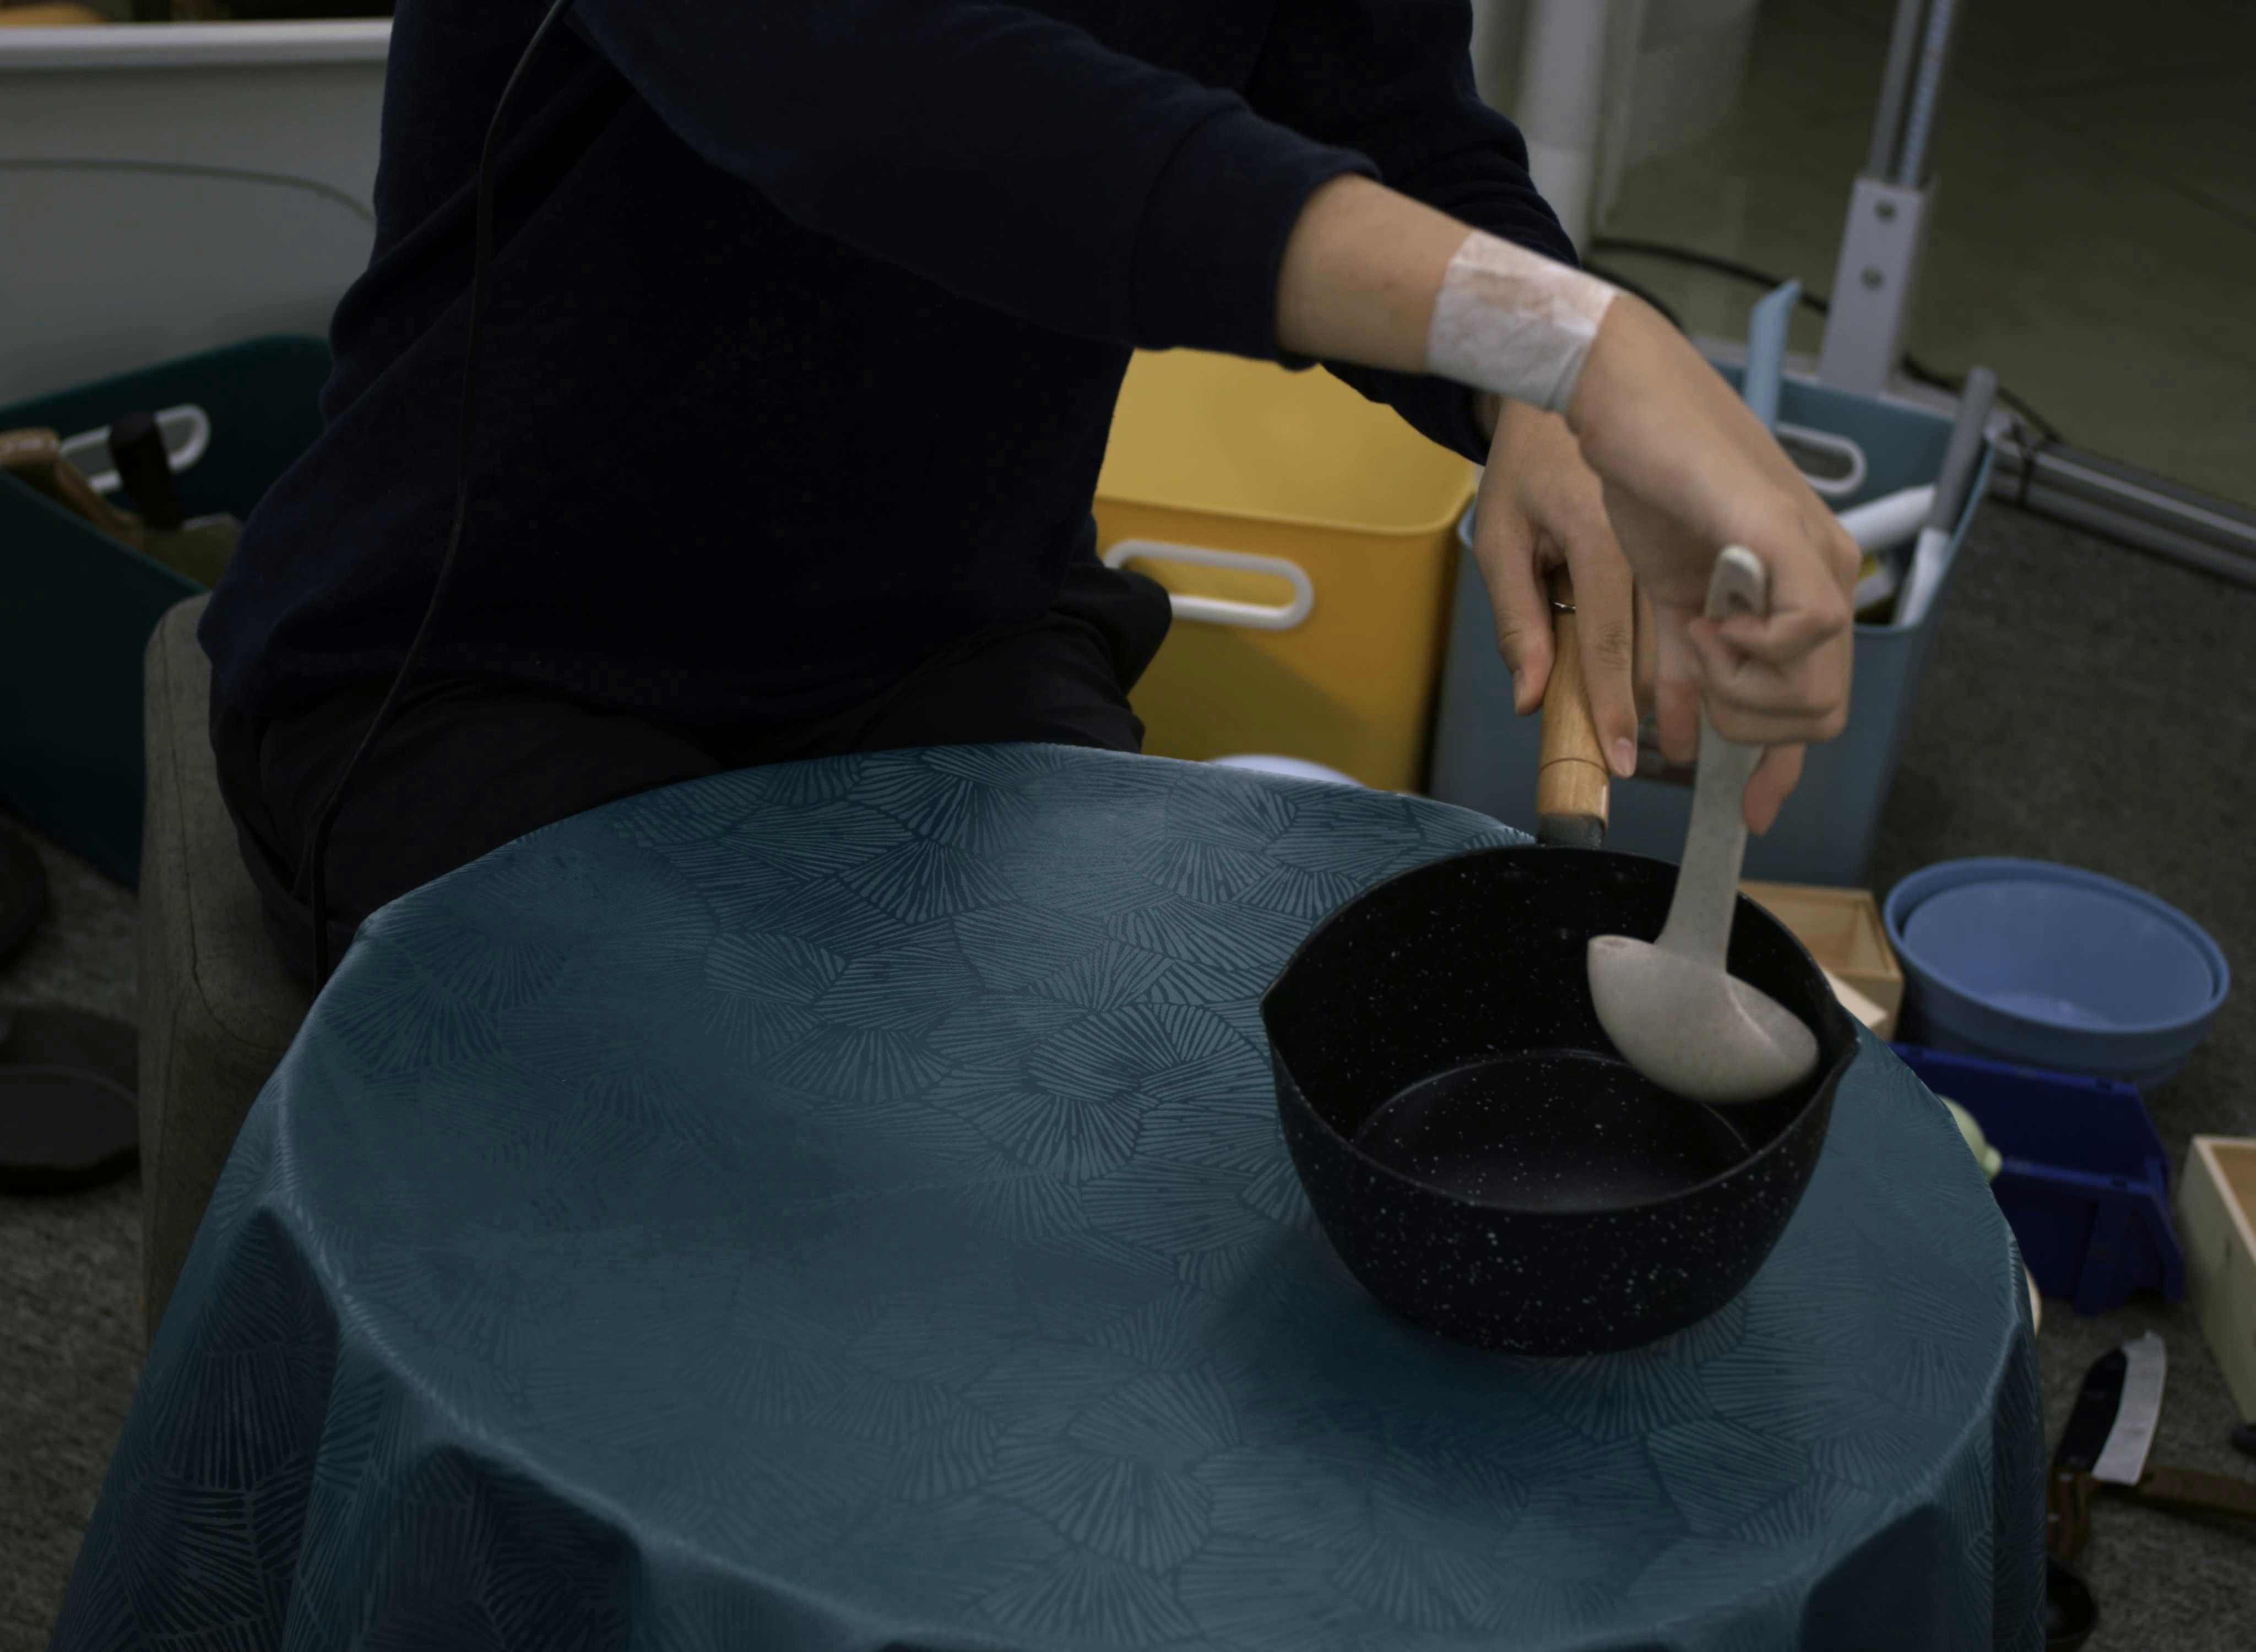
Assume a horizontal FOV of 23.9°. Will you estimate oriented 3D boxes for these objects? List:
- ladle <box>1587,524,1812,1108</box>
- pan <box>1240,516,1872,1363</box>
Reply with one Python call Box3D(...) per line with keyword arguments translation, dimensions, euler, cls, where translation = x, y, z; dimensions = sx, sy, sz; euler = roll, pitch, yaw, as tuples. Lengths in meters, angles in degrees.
Box3D(translation=(0.193, -0.012, 1.664), dimensions=(0.090, 0.273, 0.069), euler=(34, 55, 25), cls="ladle")
Box3D(translation=(0.147, 0.036, 1.818), dimensions=(0.207, 0.107, 0.345), euler=(1, 40, 6), cls="pan")
